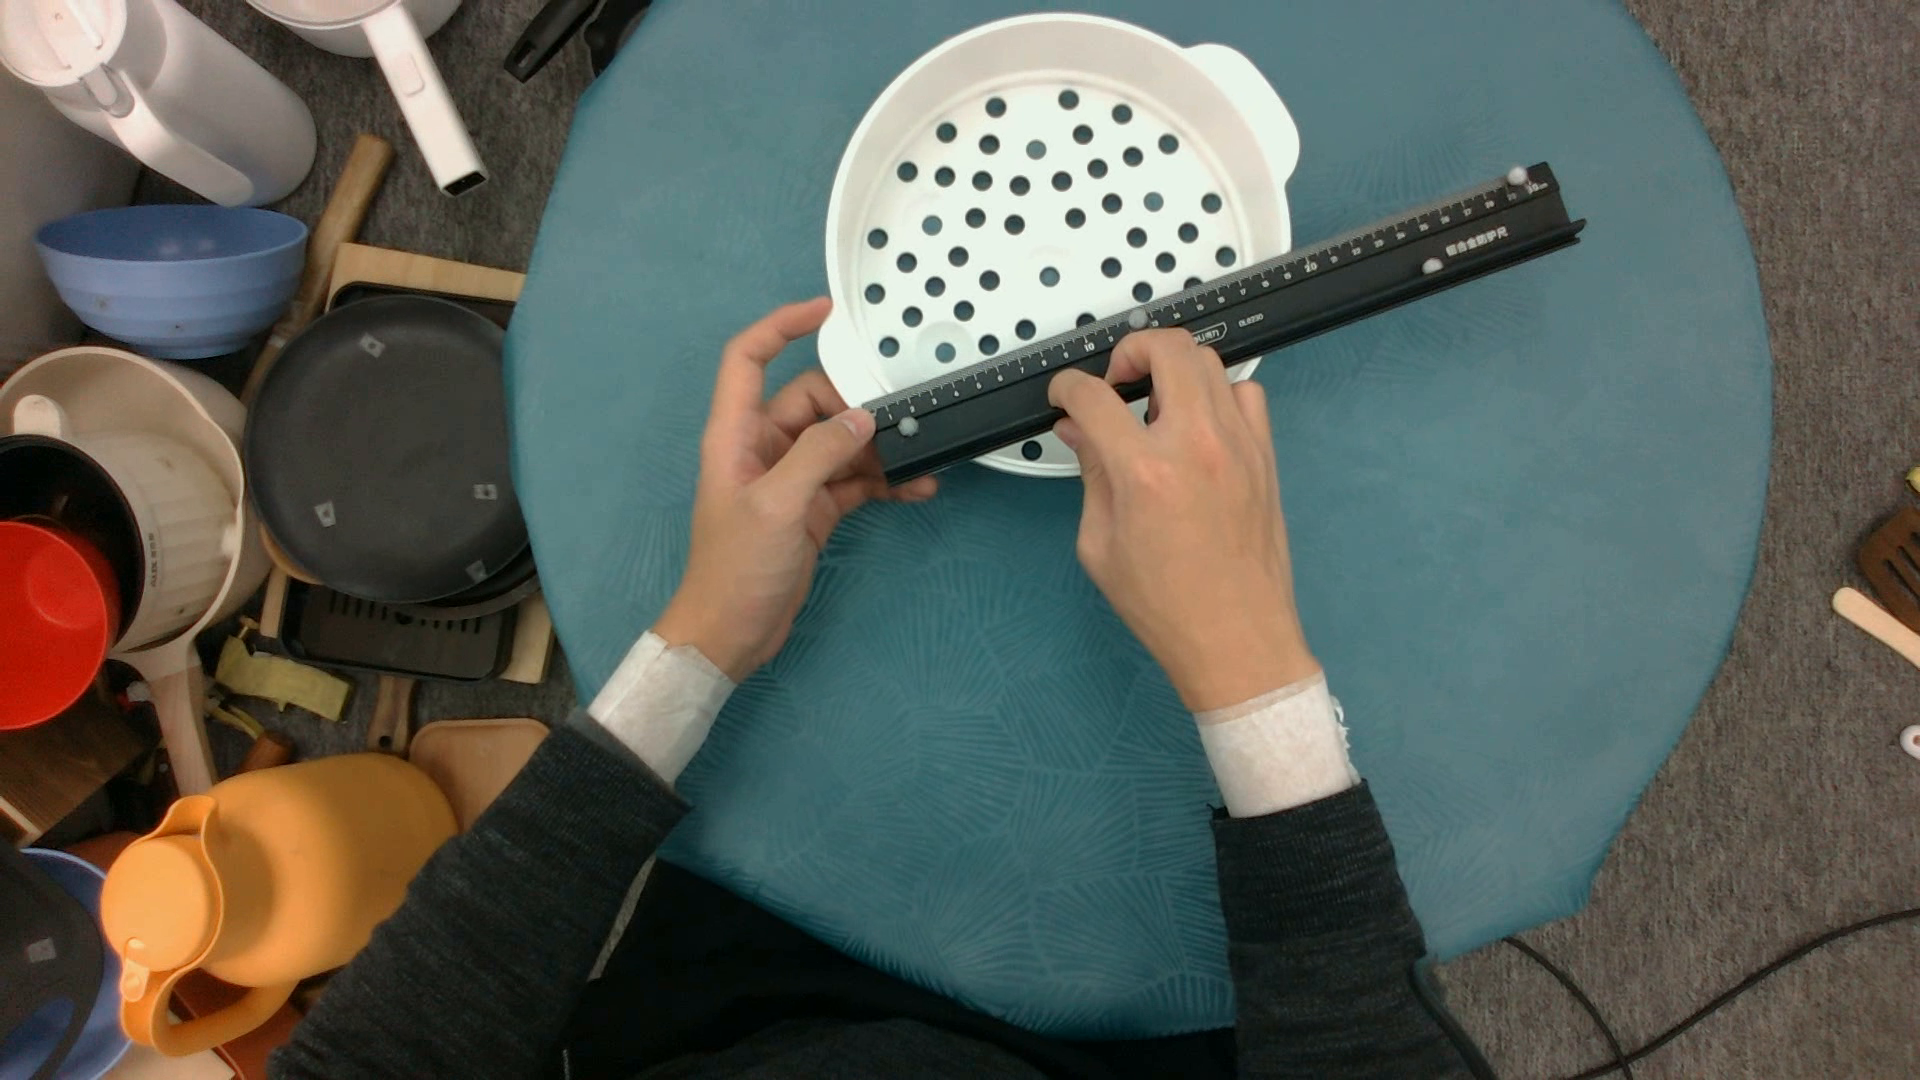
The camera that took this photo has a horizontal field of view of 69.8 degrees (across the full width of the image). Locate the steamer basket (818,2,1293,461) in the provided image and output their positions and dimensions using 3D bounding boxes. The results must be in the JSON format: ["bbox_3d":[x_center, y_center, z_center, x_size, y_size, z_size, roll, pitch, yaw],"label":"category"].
[{"bbox_3d":[0.042,-0.135,0.625,0.231,0.069,0.202,-36,88,-4],"label":"steamer basket"}]

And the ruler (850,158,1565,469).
[{"bbox_3d":[0.106,-0.098,0.584,0.312,0.017,0.039,-19,87,-2],"label":"ruler"}]
